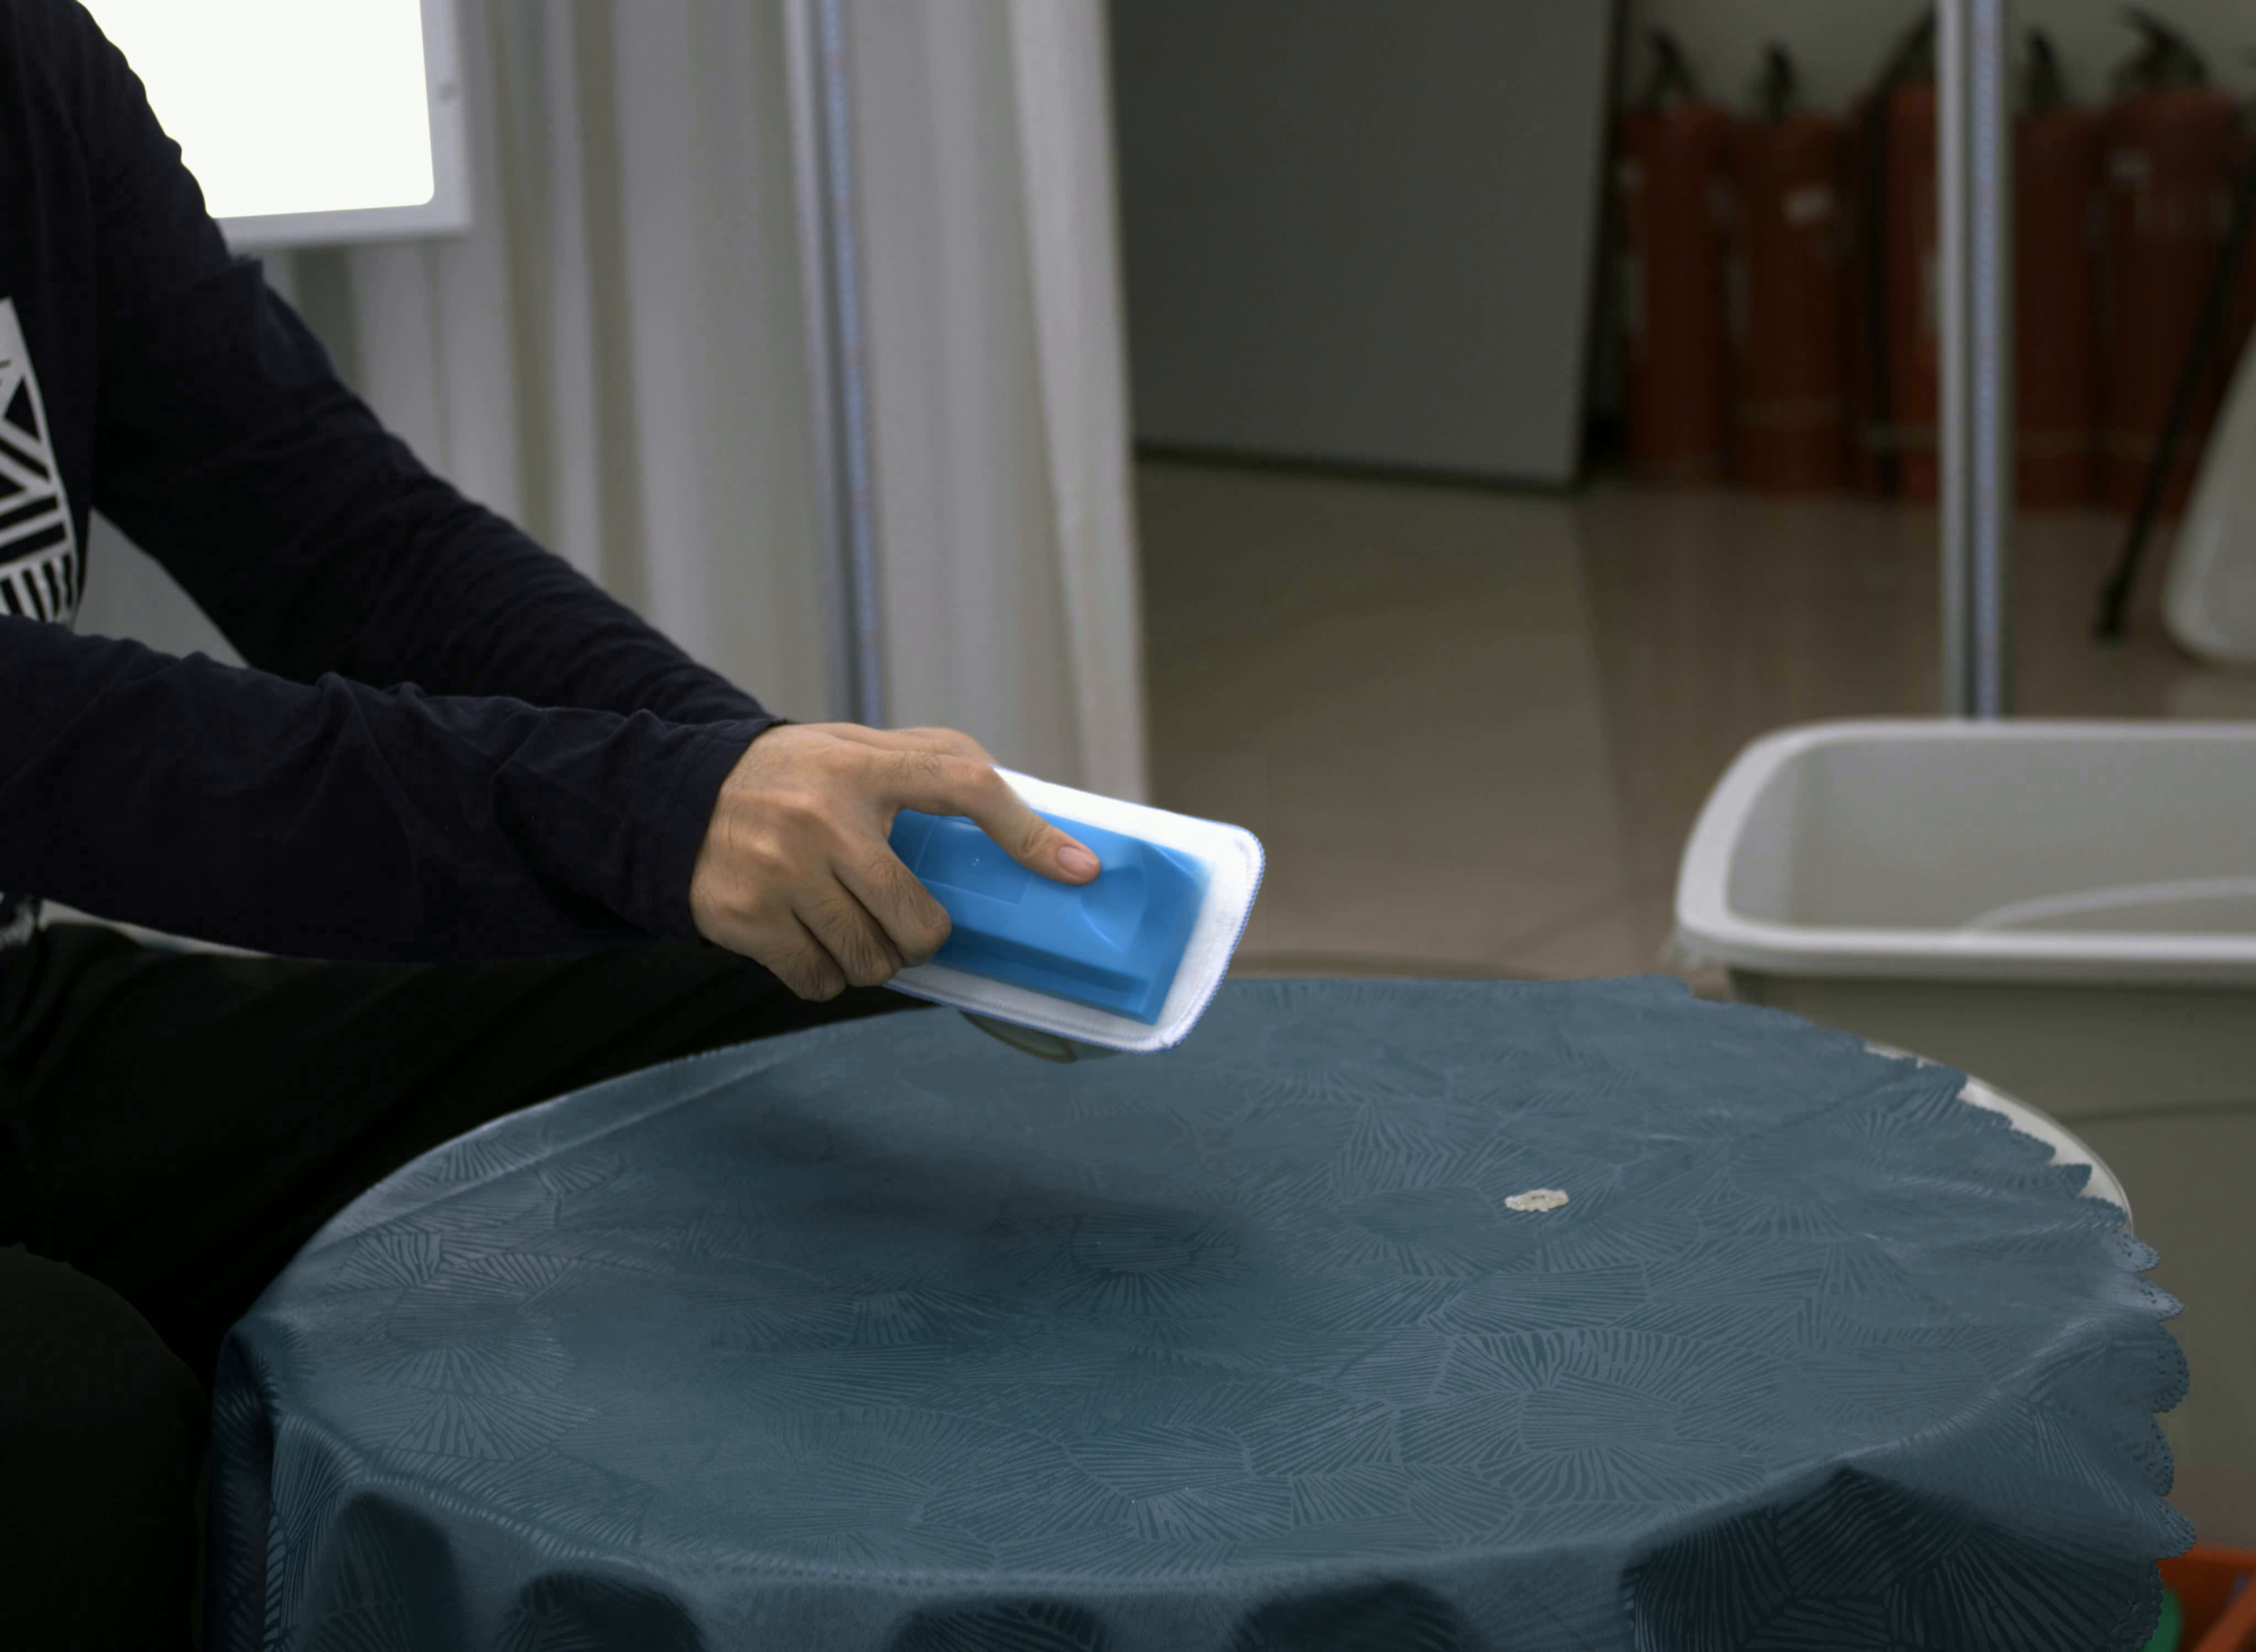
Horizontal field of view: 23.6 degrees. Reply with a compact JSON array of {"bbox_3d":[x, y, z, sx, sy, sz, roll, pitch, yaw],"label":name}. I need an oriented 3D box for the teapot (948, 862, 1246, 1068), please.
[{"bbox_3d":[-0.022,0.037,1.757,0.087,0.075,0.145,36,-14,-35],"label":"teapot"}]

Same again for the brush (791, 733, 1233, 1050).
[{"bbox_3d":[-0.042,0.015,1.691,0.145,0.084,0.055,17,-18,32],"label":"brush"}]
